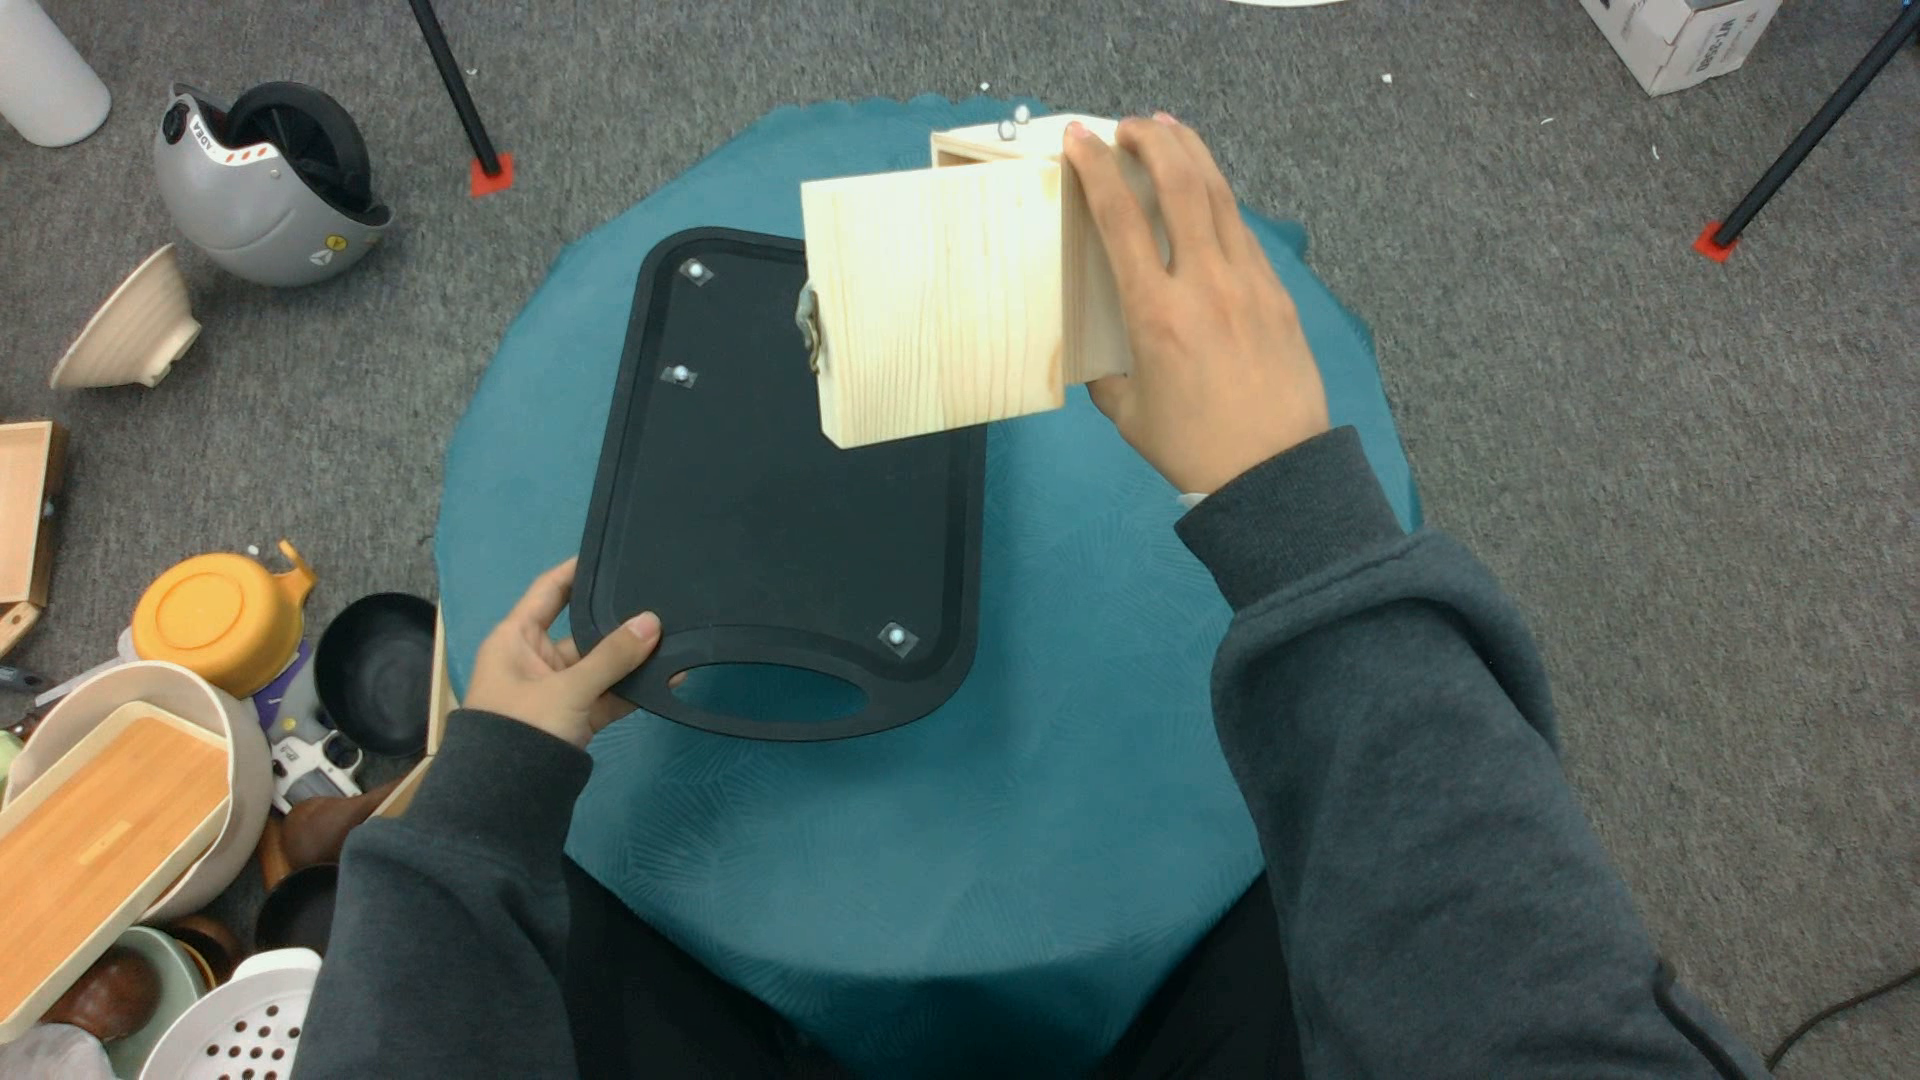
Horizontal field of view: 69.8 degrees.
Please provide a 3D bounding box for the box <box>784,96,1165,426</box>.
[{"bbox_3d":[-0.008,-0.132,0.611,0.185,0.102,0.134,-14,27,-26],"label":"box"}]

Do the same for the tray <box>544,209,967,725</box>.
[{"bbox_3d":[-0.101,-0.052,0.754,0.211,0.010,0.327,7,59,-8],"label":"tray"}]
